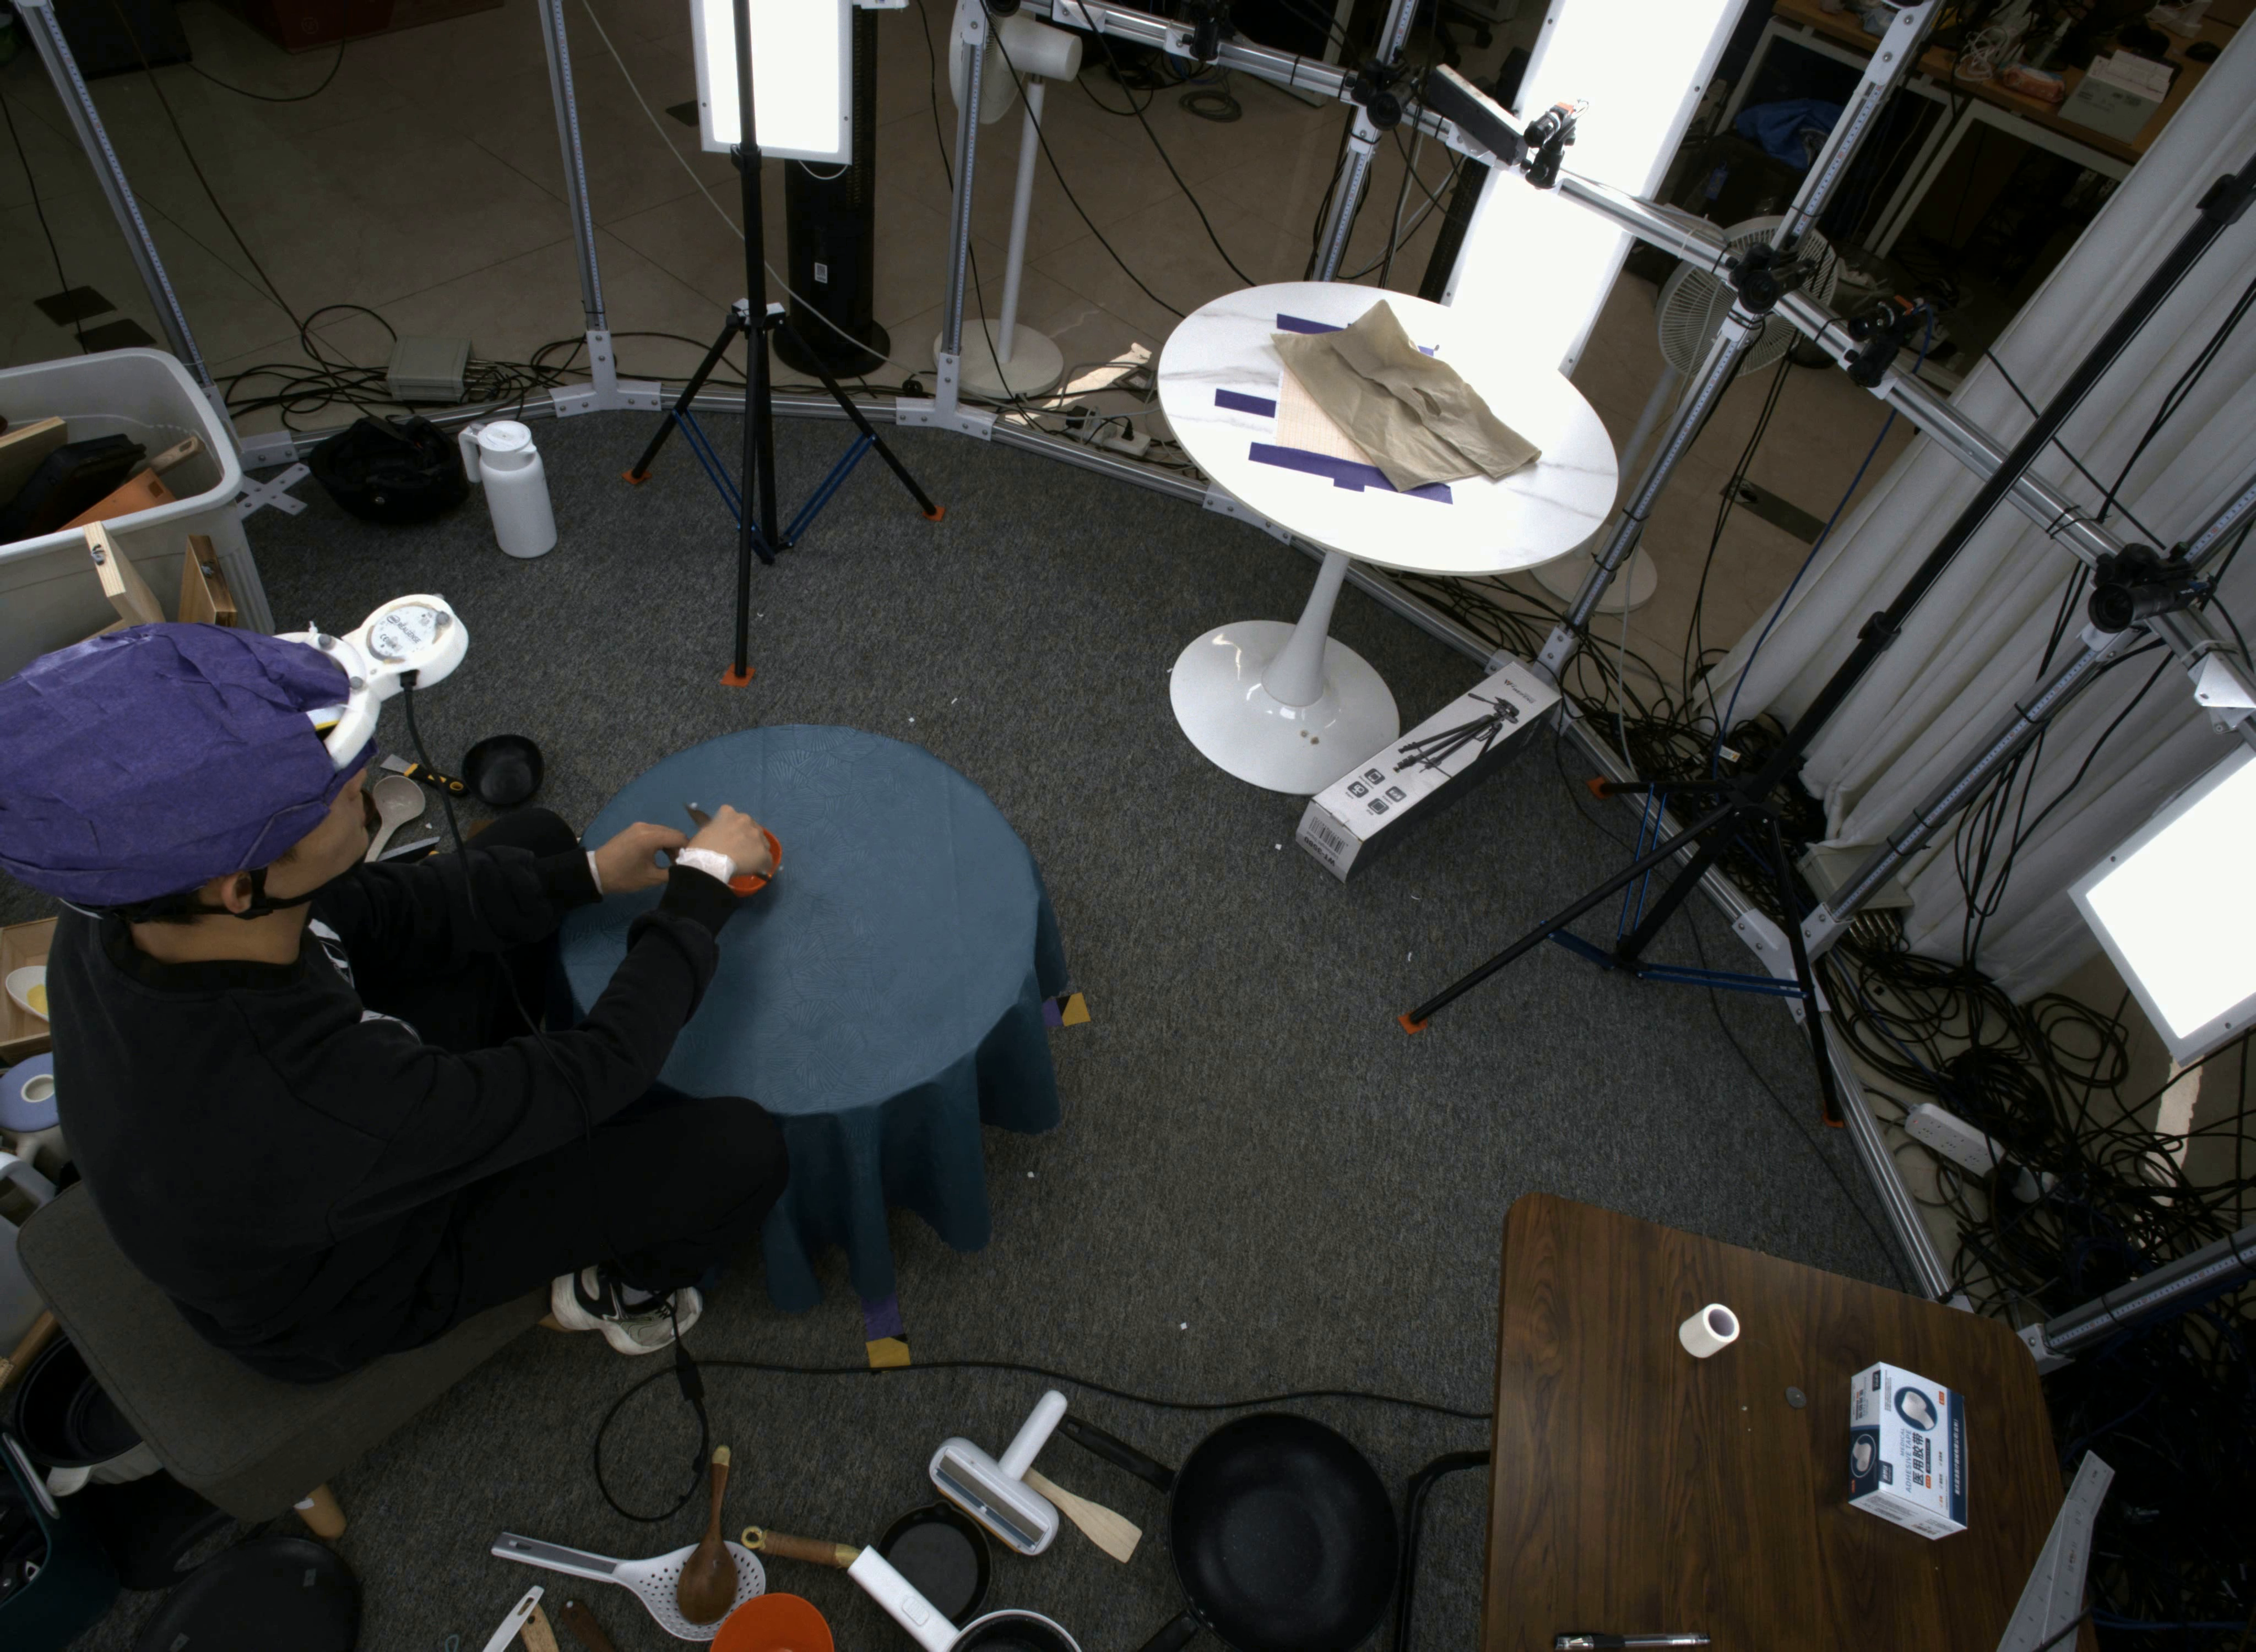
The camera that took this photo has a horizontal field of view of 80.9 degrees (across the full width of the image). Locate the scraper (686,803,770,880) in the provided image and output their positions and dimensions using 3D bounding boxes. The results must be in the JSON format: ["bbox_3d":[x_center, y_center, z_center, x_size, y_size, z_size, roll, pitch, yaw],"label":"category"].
[{"bbox_3d":[-0.470,0.022,1.536,0.011,0.078,0.203,-55,40,-4],"label":"scraper"}]

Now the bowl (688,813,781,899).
[{"bbox_3d":[-0.502,0.045,1.634,0.121,0.051,0.117,20,48,-22],"label":"bowl"}]
